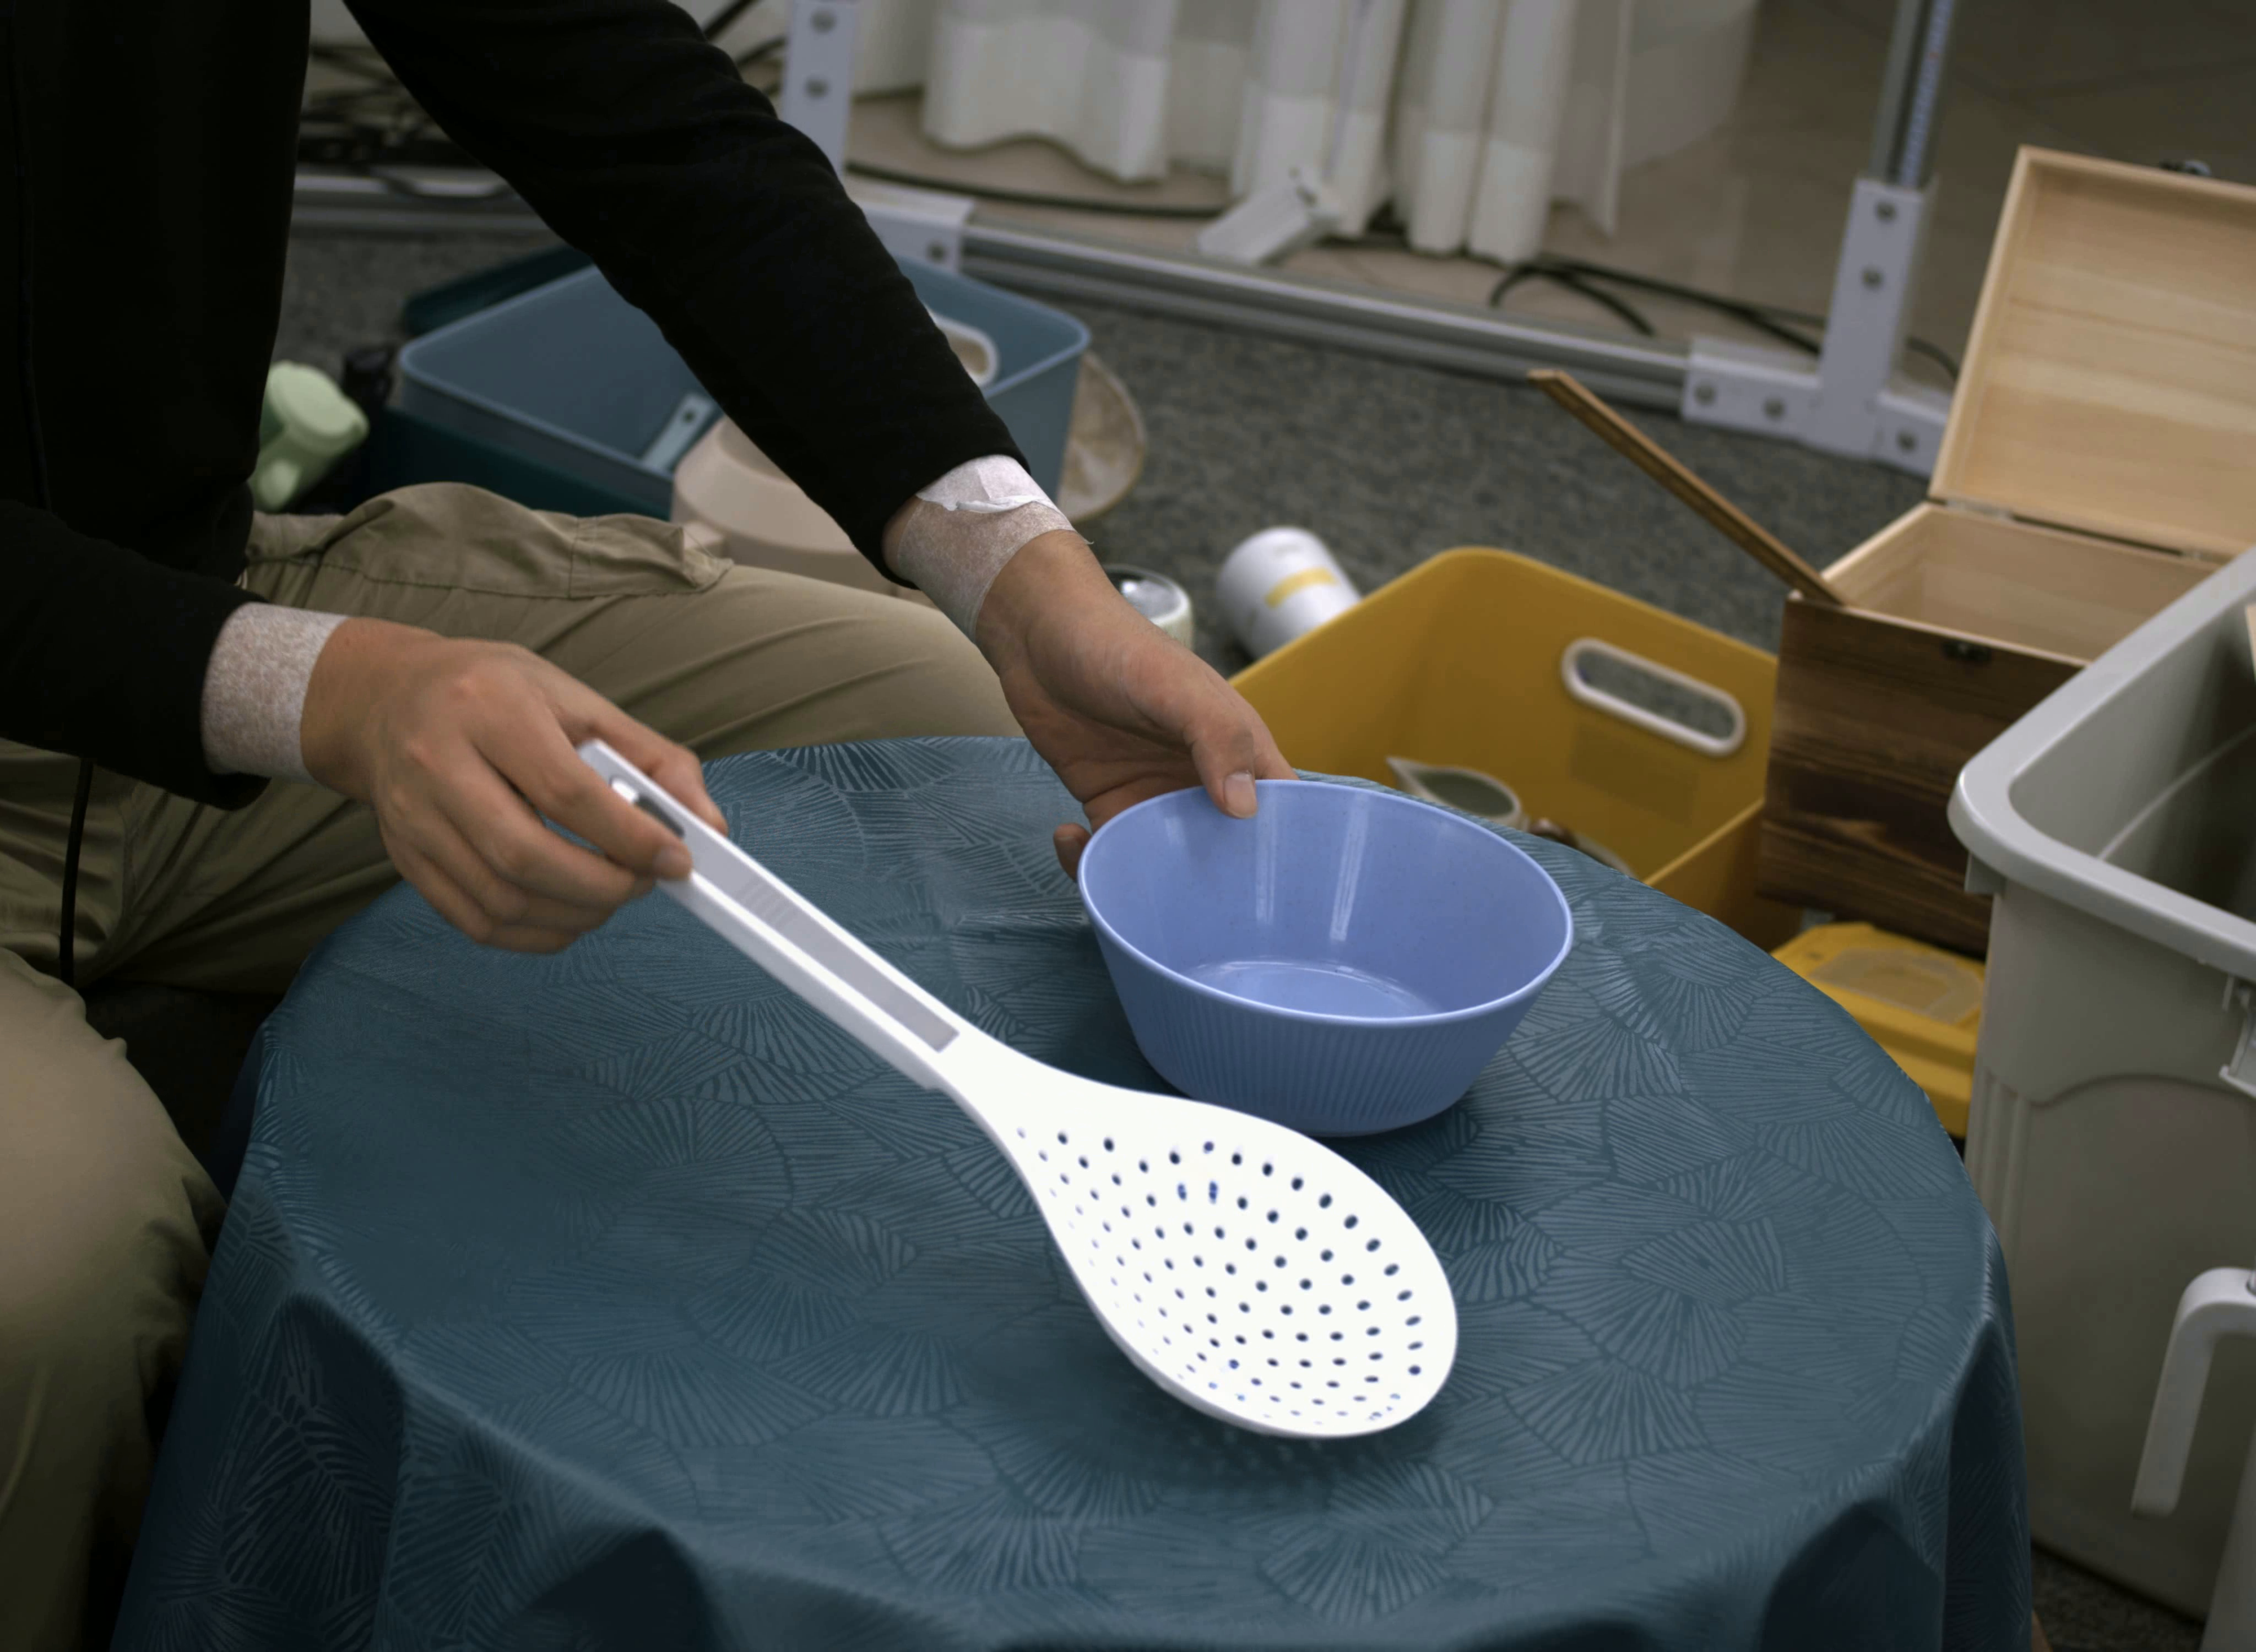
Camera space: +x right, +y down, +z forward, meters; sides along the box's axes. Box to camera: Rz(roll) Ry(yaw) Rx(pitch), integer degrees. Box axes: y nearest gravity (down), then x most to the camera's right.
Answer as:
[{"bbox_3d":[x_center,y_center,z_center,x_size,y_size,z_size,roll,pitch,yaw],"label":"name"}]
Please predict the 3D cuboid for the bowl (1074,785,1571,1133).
[{"bbox_3d":[0.065,0.052,1.879,0.175,0.070,0.177,4,26,-3],"label":"bowl"}]

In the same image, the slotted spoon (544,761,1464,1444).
[{"bbox_3d":[-0.046,0.085,1.710,0.350,0.045,0.136,38,39,8],"label":"slotted spoon"}]
